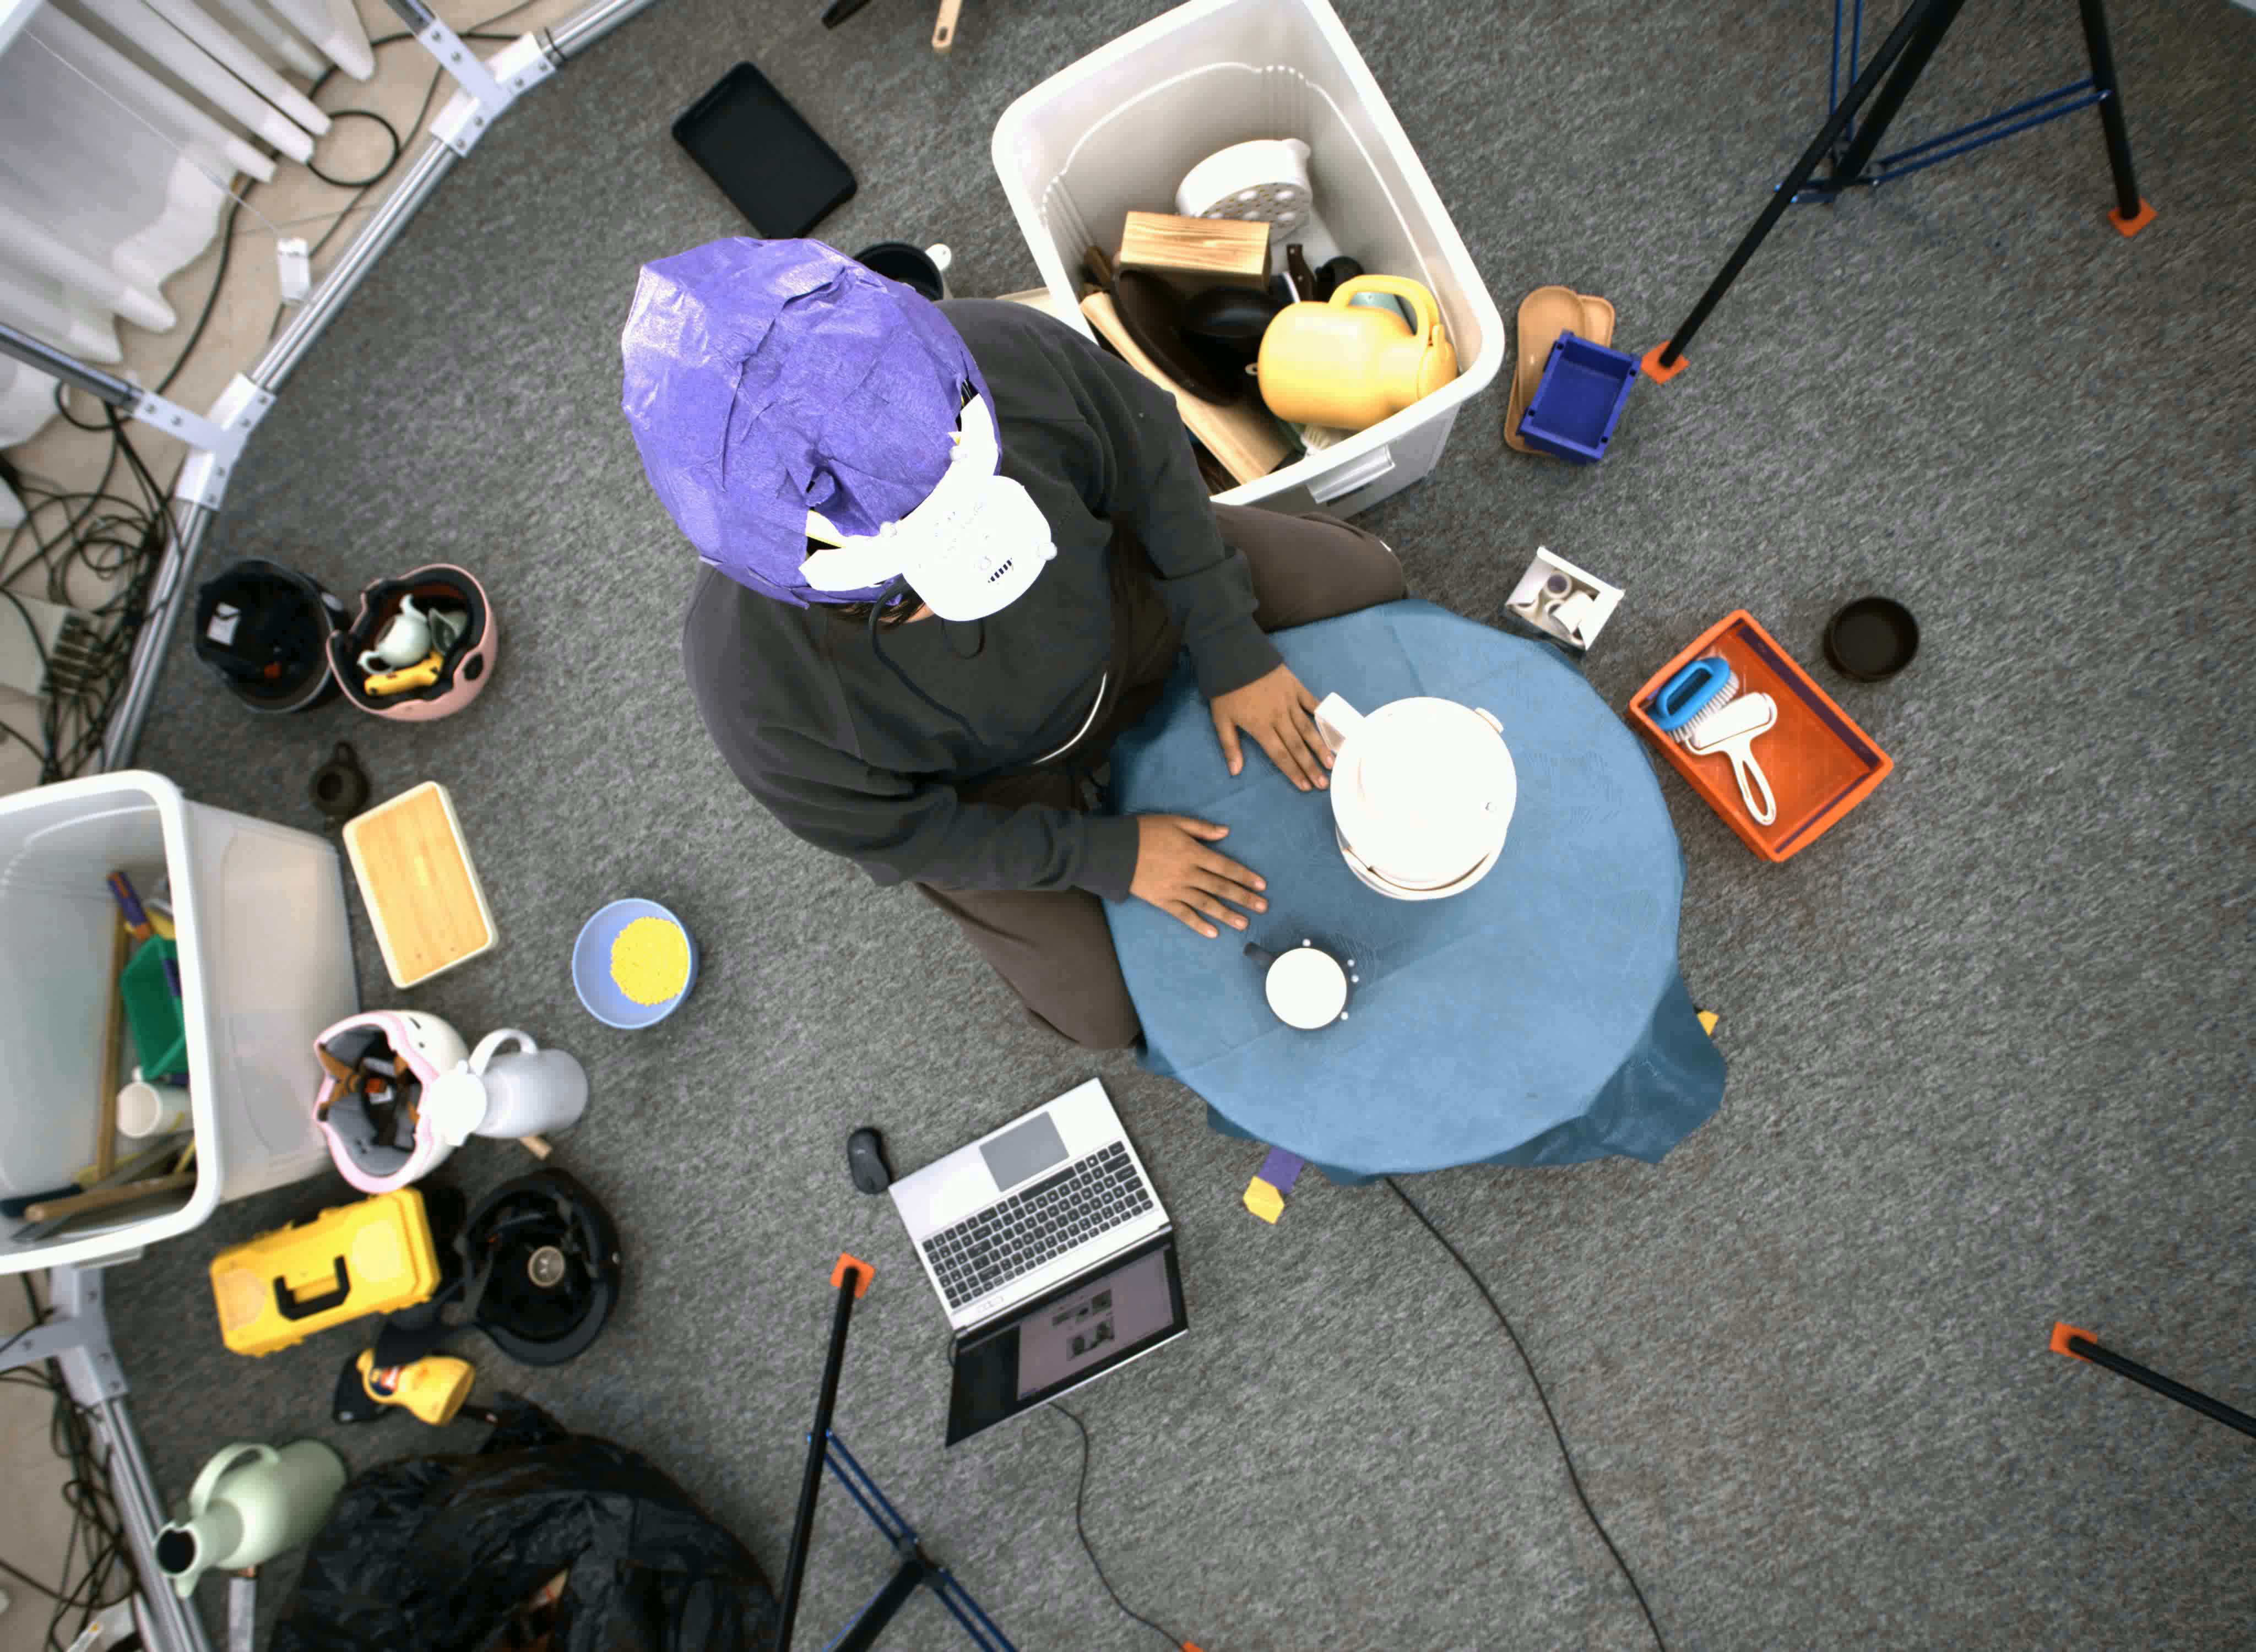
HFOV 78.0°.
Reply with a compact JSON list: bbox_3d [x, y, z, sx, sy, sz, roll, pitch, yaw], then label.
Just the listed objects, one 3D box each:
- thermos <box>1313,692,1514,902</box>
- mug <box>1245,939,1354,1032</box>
[{"bbox_3d":[0.256,-0.033,1.268,0.206,0.407,0.176,43,93,11],"label":"thermos"},{"bbox_3d":[0.173,0.156,1.428,0.123,0.090,0.094,36,92,11],"label":"mug"}]
